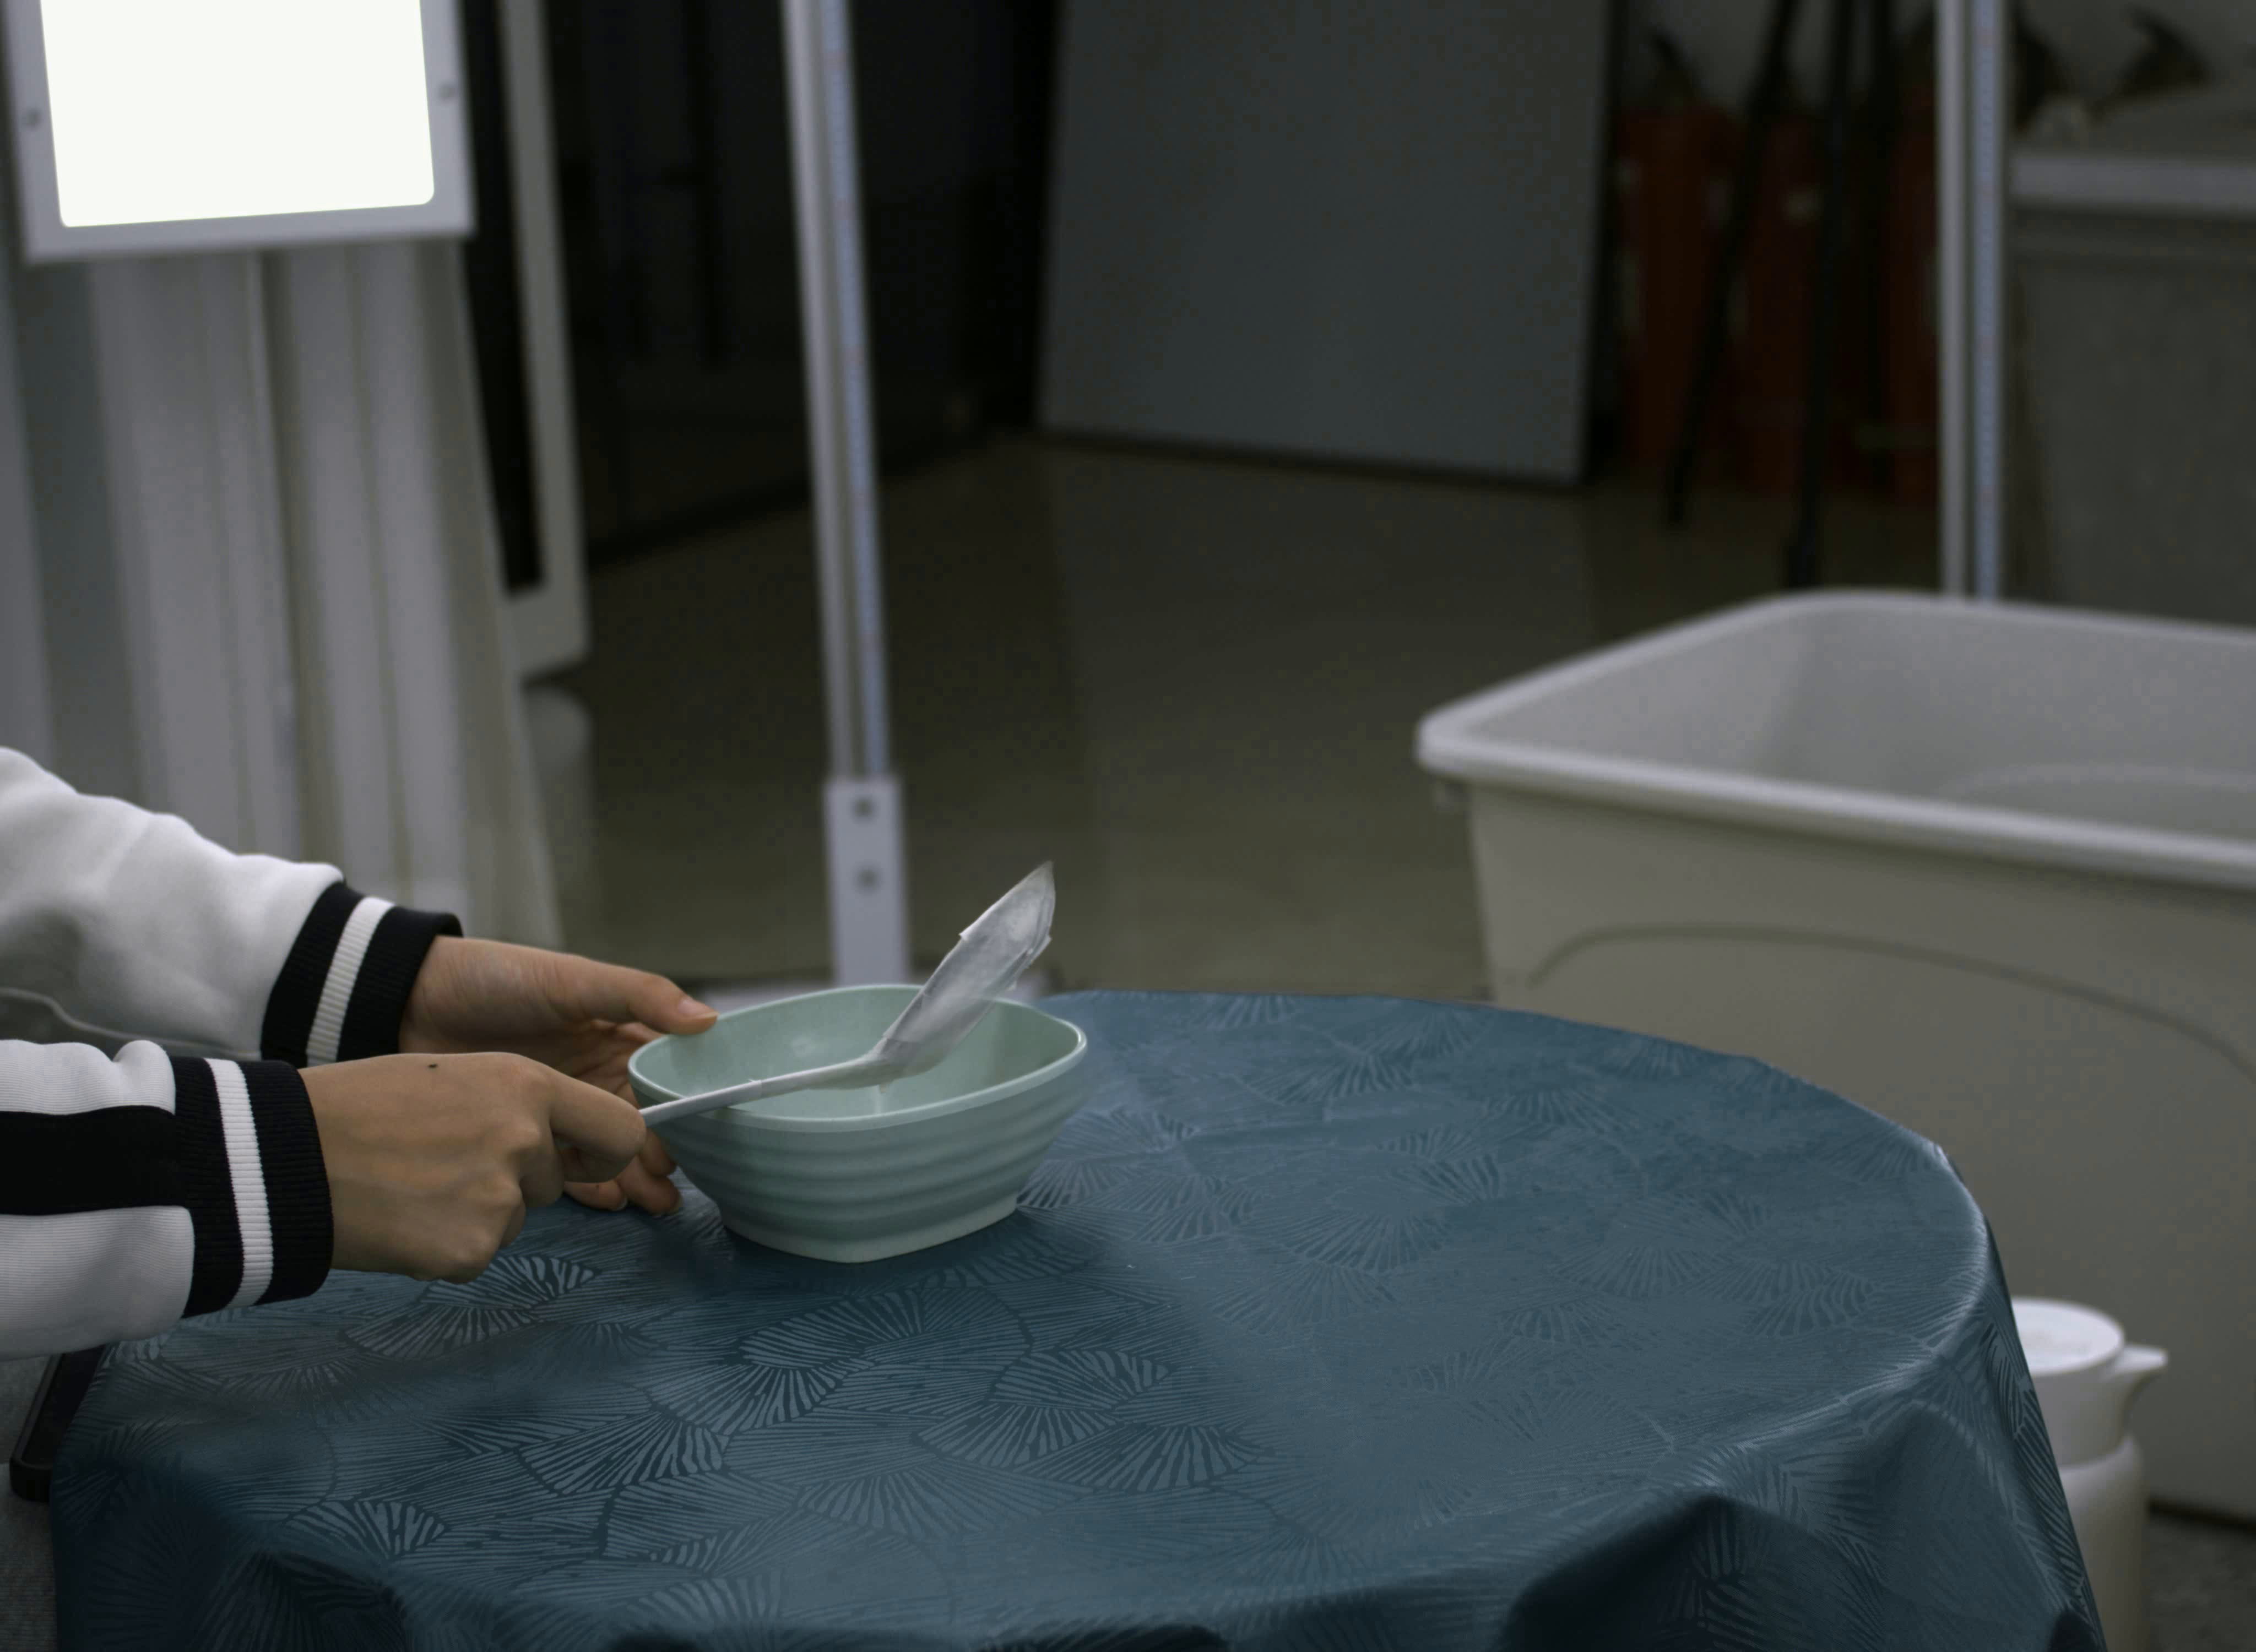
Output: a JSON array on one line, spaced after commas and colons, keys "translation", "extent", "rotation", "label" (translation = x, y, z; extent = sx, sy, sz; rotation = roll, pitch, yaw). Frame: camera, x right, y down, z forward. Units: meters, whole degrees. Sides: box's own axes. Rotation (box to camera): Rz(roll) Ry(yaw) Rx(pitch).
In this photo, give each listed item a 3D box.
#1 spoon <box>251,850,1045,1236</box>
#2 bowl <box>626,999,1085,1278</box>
[{"translation": [-0.148, 0.071, 1.705], "extent": [0.272, 0.060, 0.101], "rotation": [-14, -26, -14], "label": "spoon"}, {"translation": [-0.087, 0.104, 1.757], "extent": [0.149, 0.059, 0.151], "rotation": [-4, 13, 0], "label": "bowl"}]
